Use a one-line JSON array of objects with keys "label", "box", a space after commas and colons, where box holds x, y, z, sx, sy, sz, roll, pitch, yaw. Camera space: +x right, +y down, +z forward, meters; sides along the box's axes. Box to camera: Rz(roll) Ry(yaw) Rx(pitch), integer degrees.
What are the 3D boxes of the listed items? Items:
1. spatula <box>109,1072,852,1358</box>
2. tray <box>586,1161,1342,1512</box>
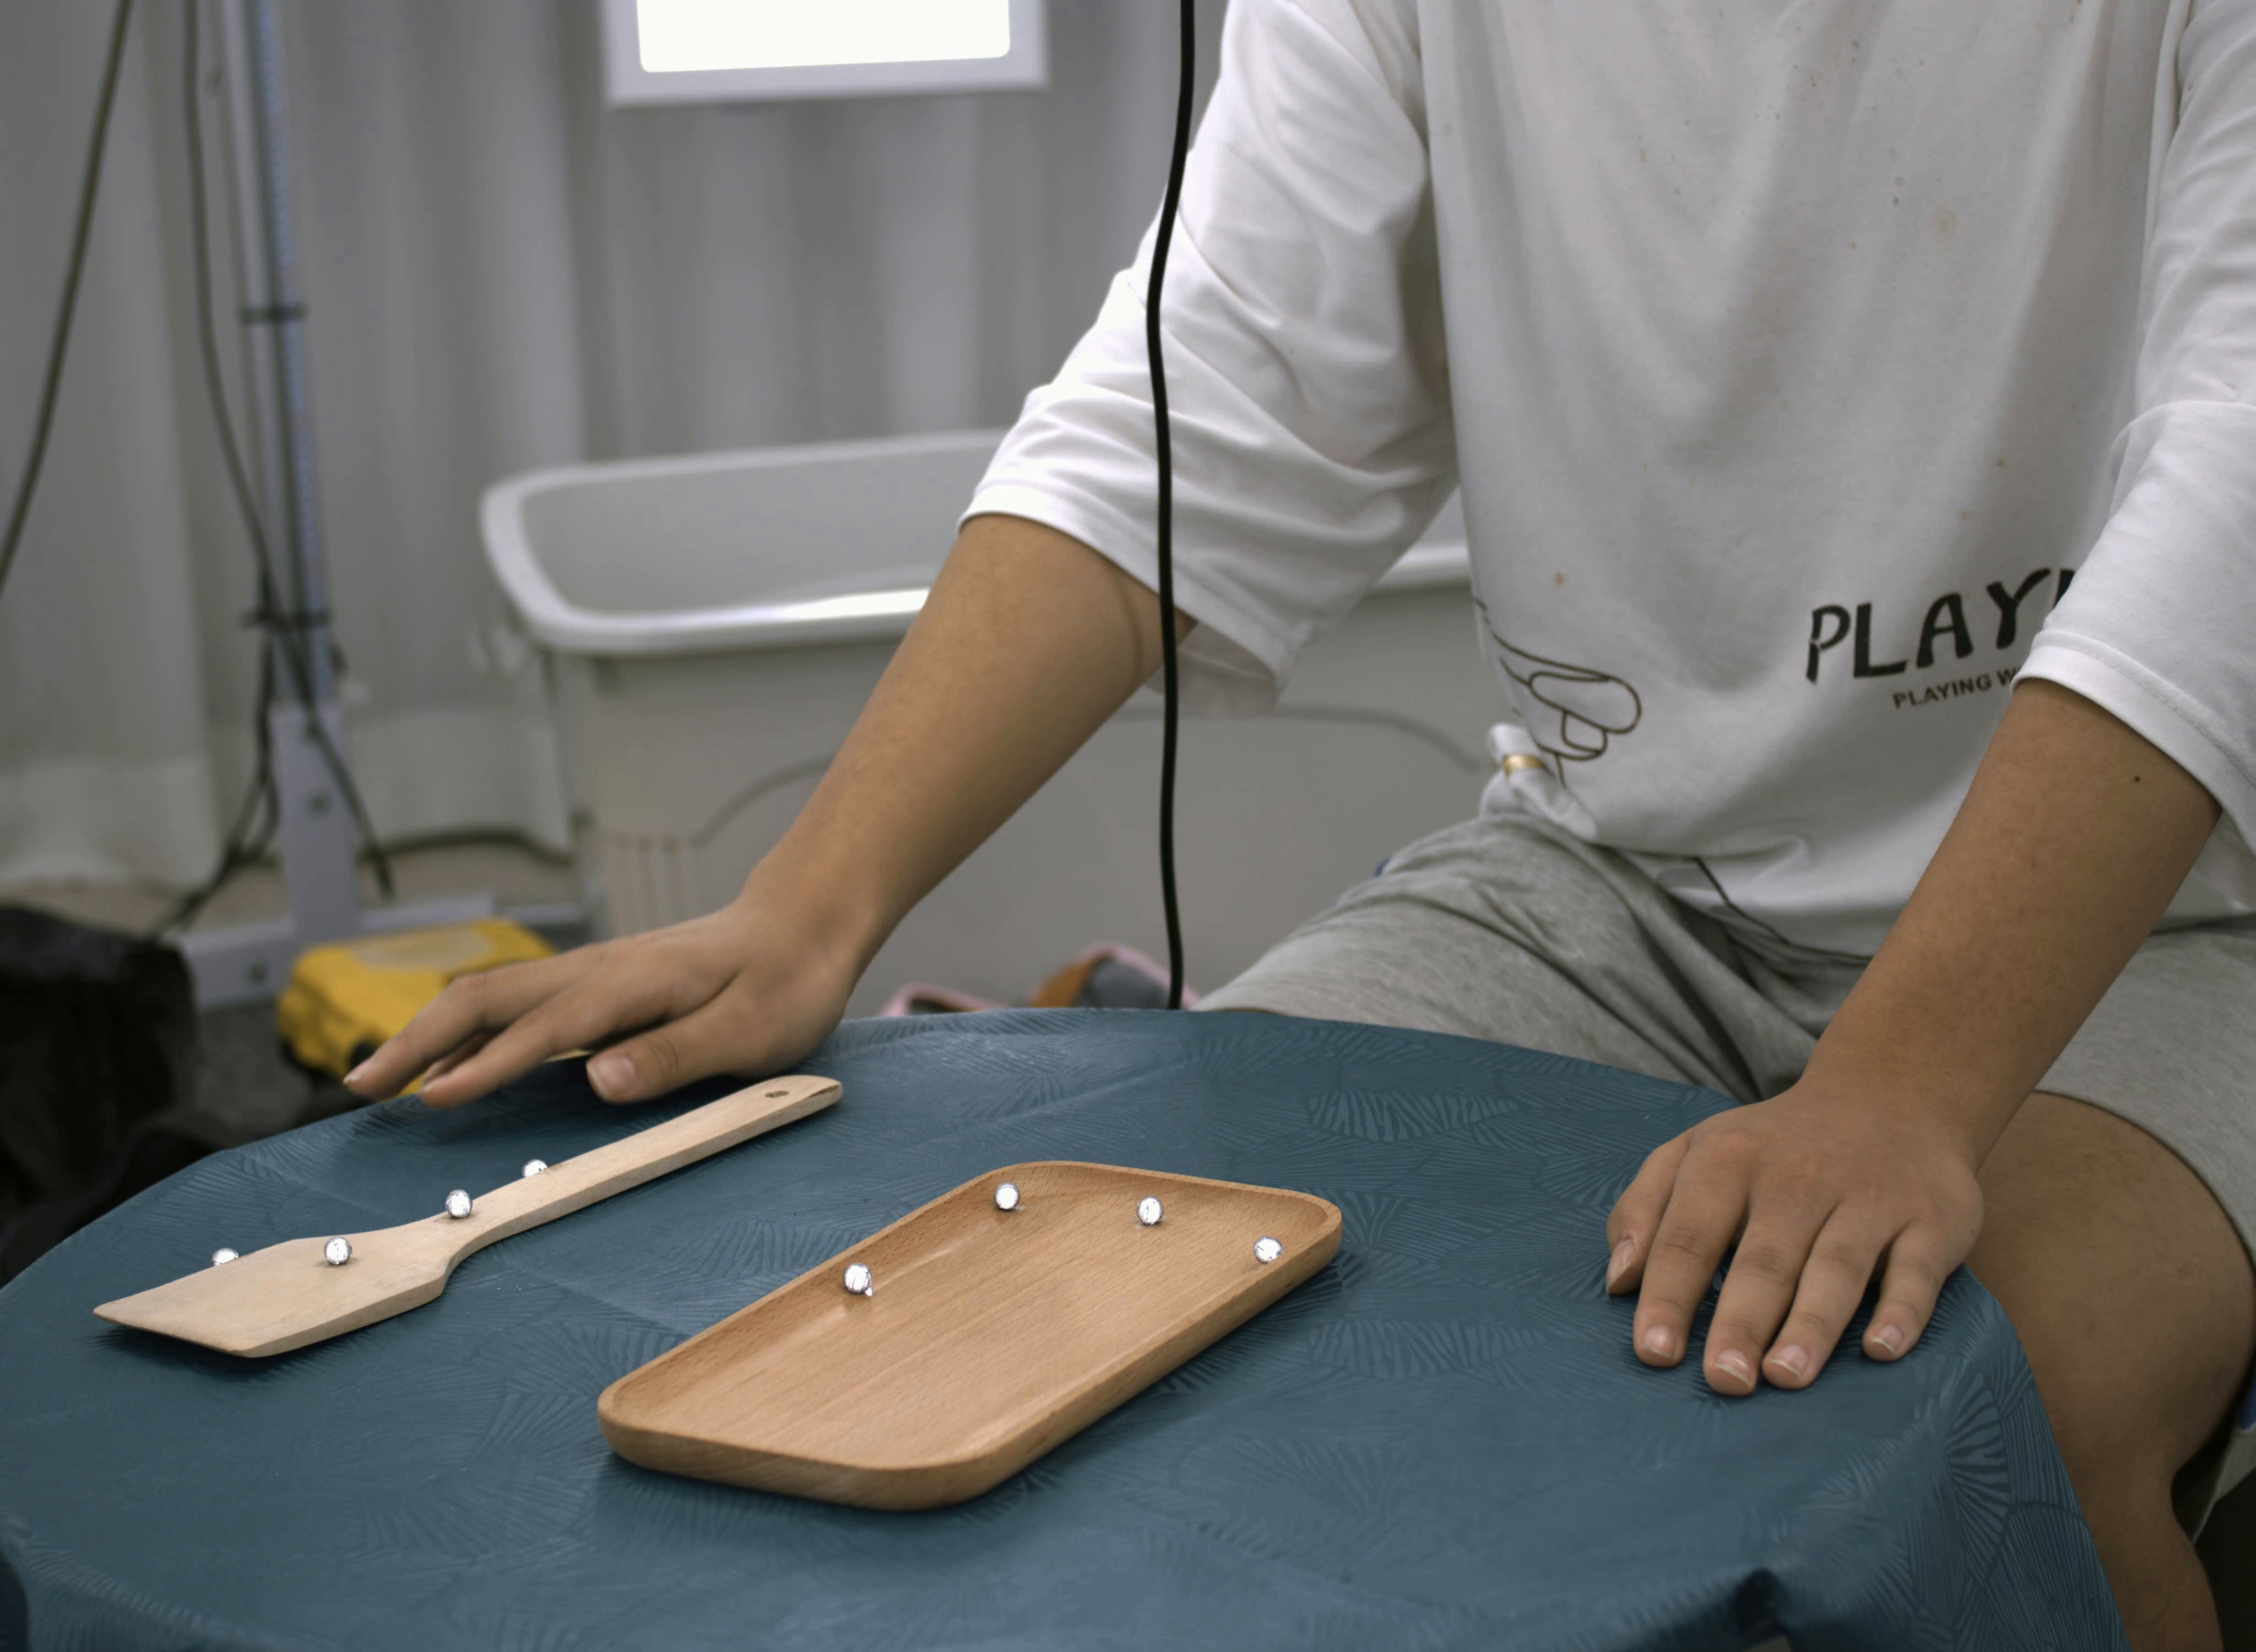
[{"label": "spatula", "box": [-0.190, 0.119, 1.718, 0.072, 0.010, 0.293, 8, 18, 38]}, {"label": "tray", "box": [-0.043, 0.145, 1.581, 0.131, 0.023, 0.251, 4, 16, 31]}]
